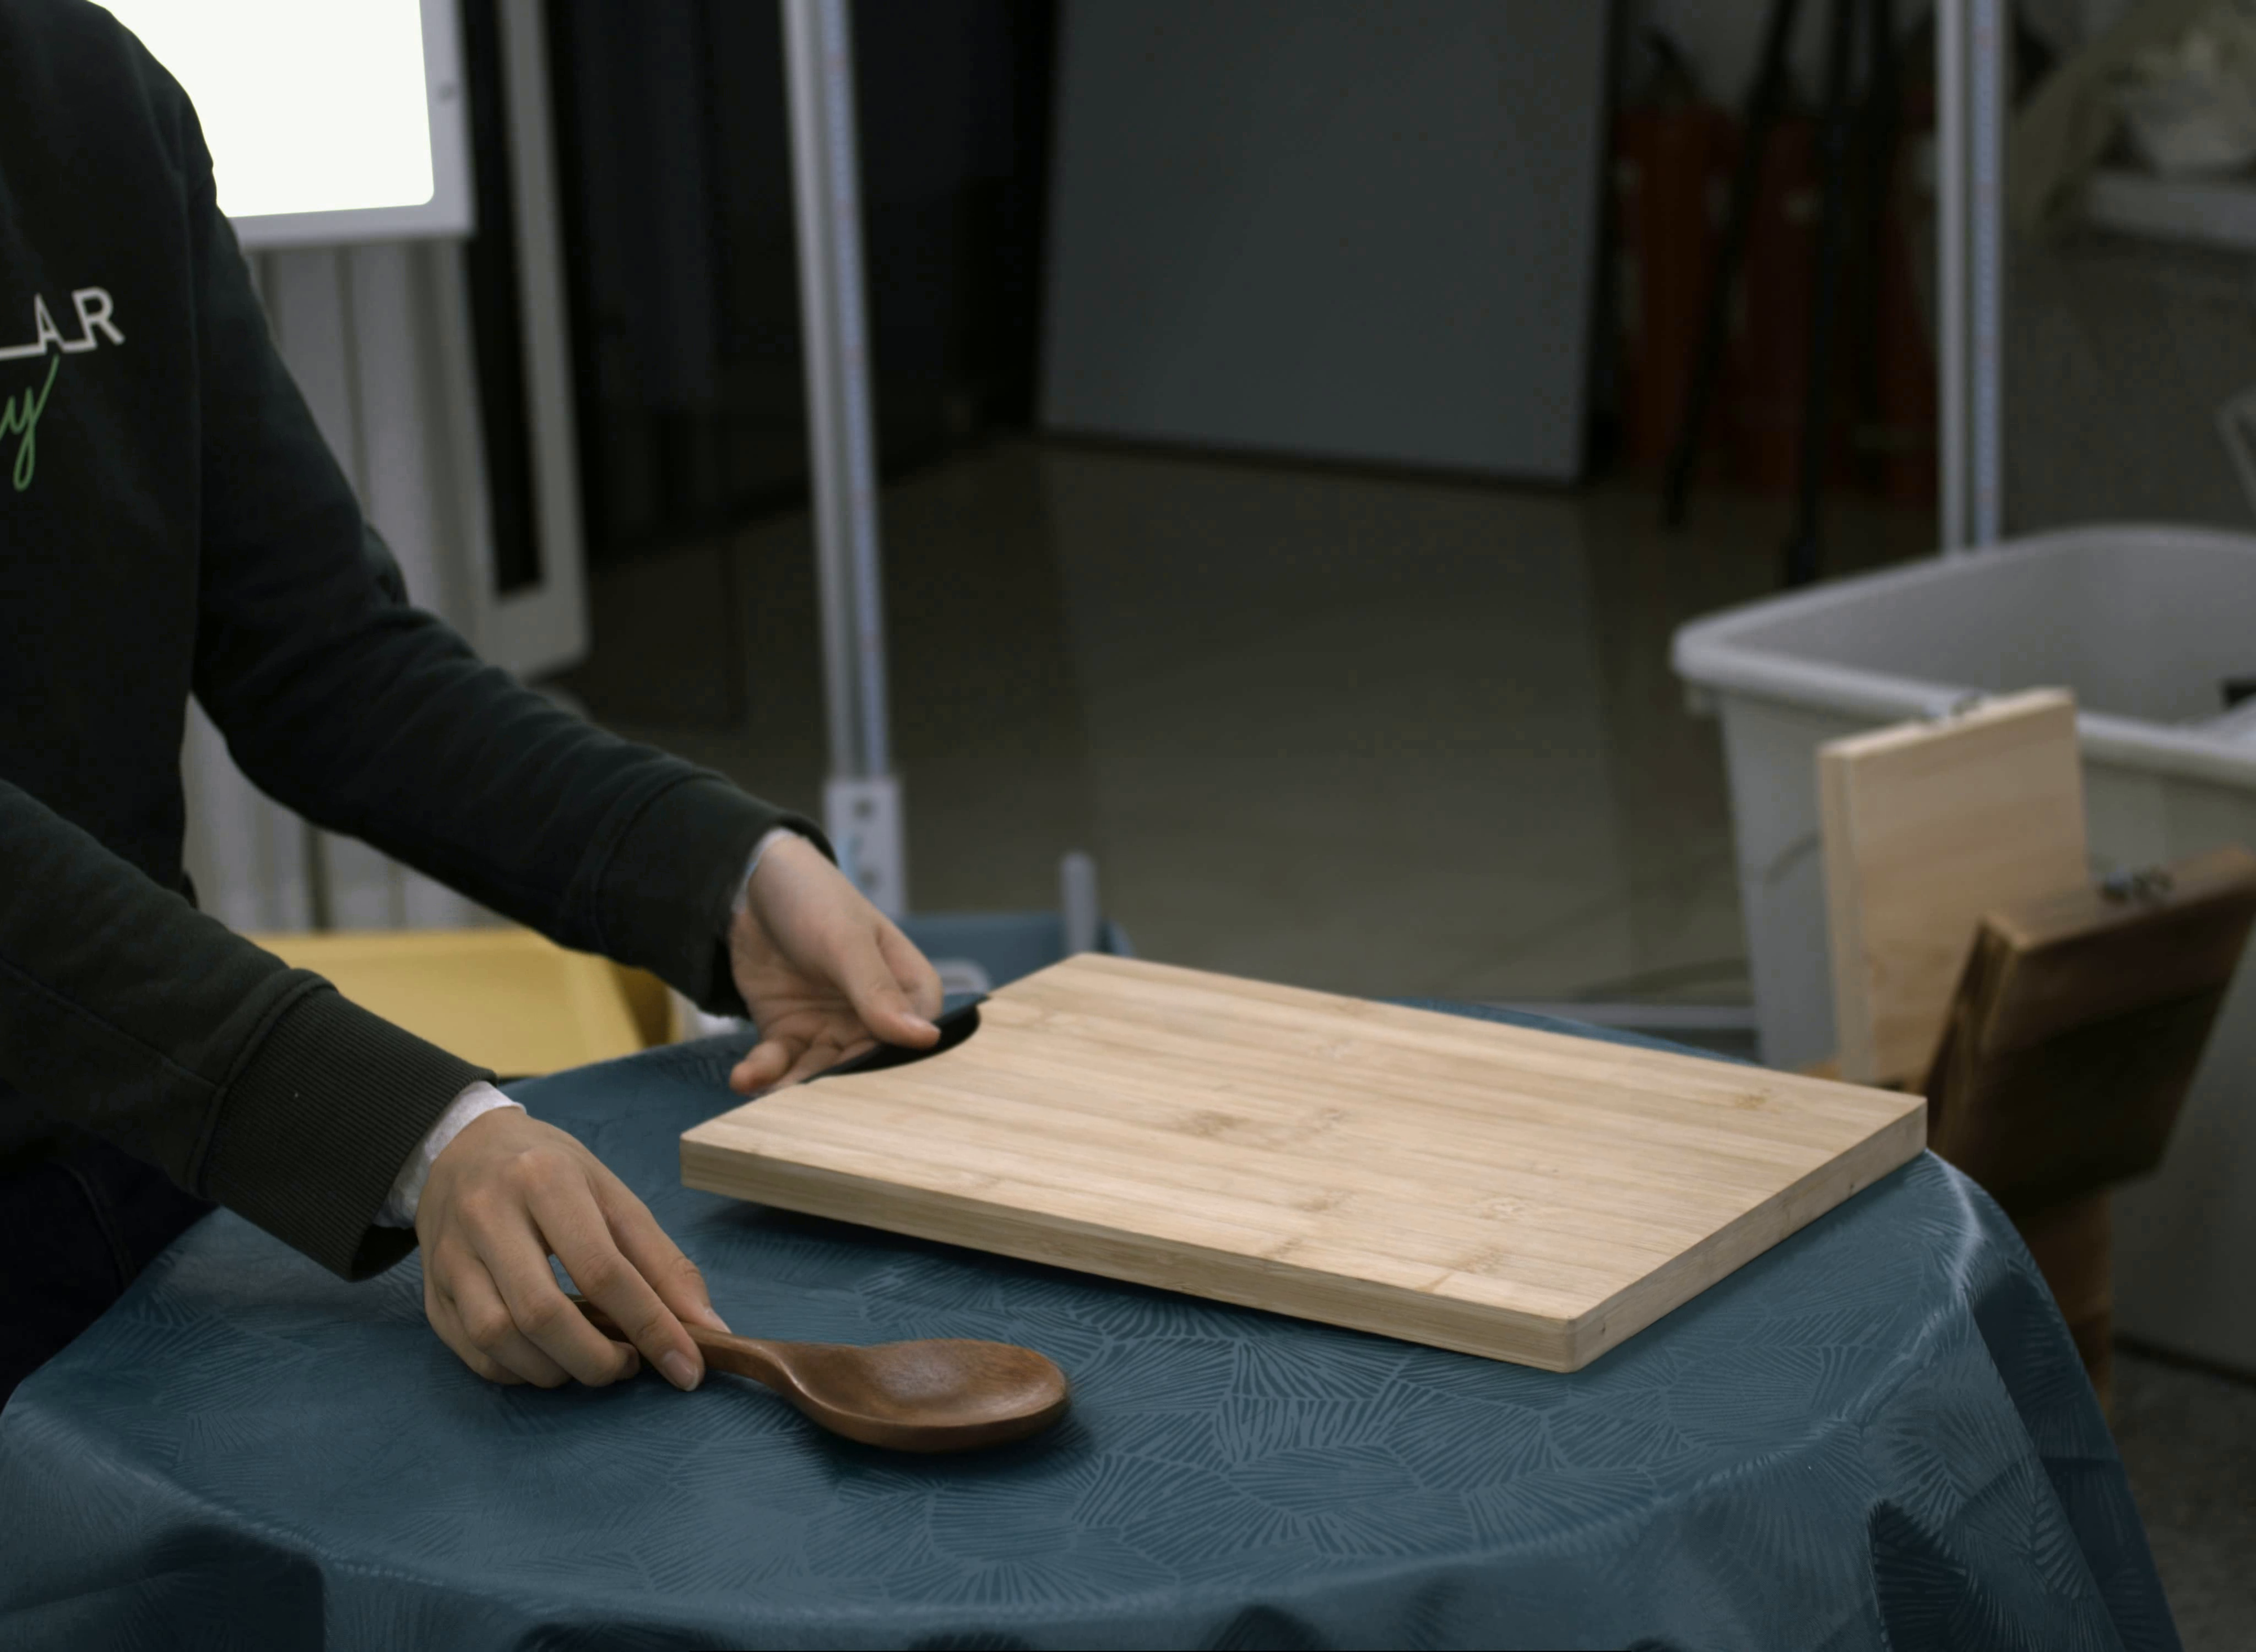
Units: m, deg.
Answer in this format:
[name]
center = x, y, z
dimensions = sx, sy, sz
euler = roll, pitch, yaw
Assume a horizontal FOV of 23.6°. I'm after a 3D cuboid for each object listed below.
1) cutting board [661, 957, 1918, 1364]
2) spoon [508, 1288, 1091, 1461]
[cutting board]
center = 0.053, 0.104, 1.766
dimensions = 0.350, 0.024, 0.246
euler = 8, 17, 34
[spoon]
center = -0.102, 0.161, 1.602
dimensions = 0.217, 0.017, 0.074
euler = 8, 20, 38
